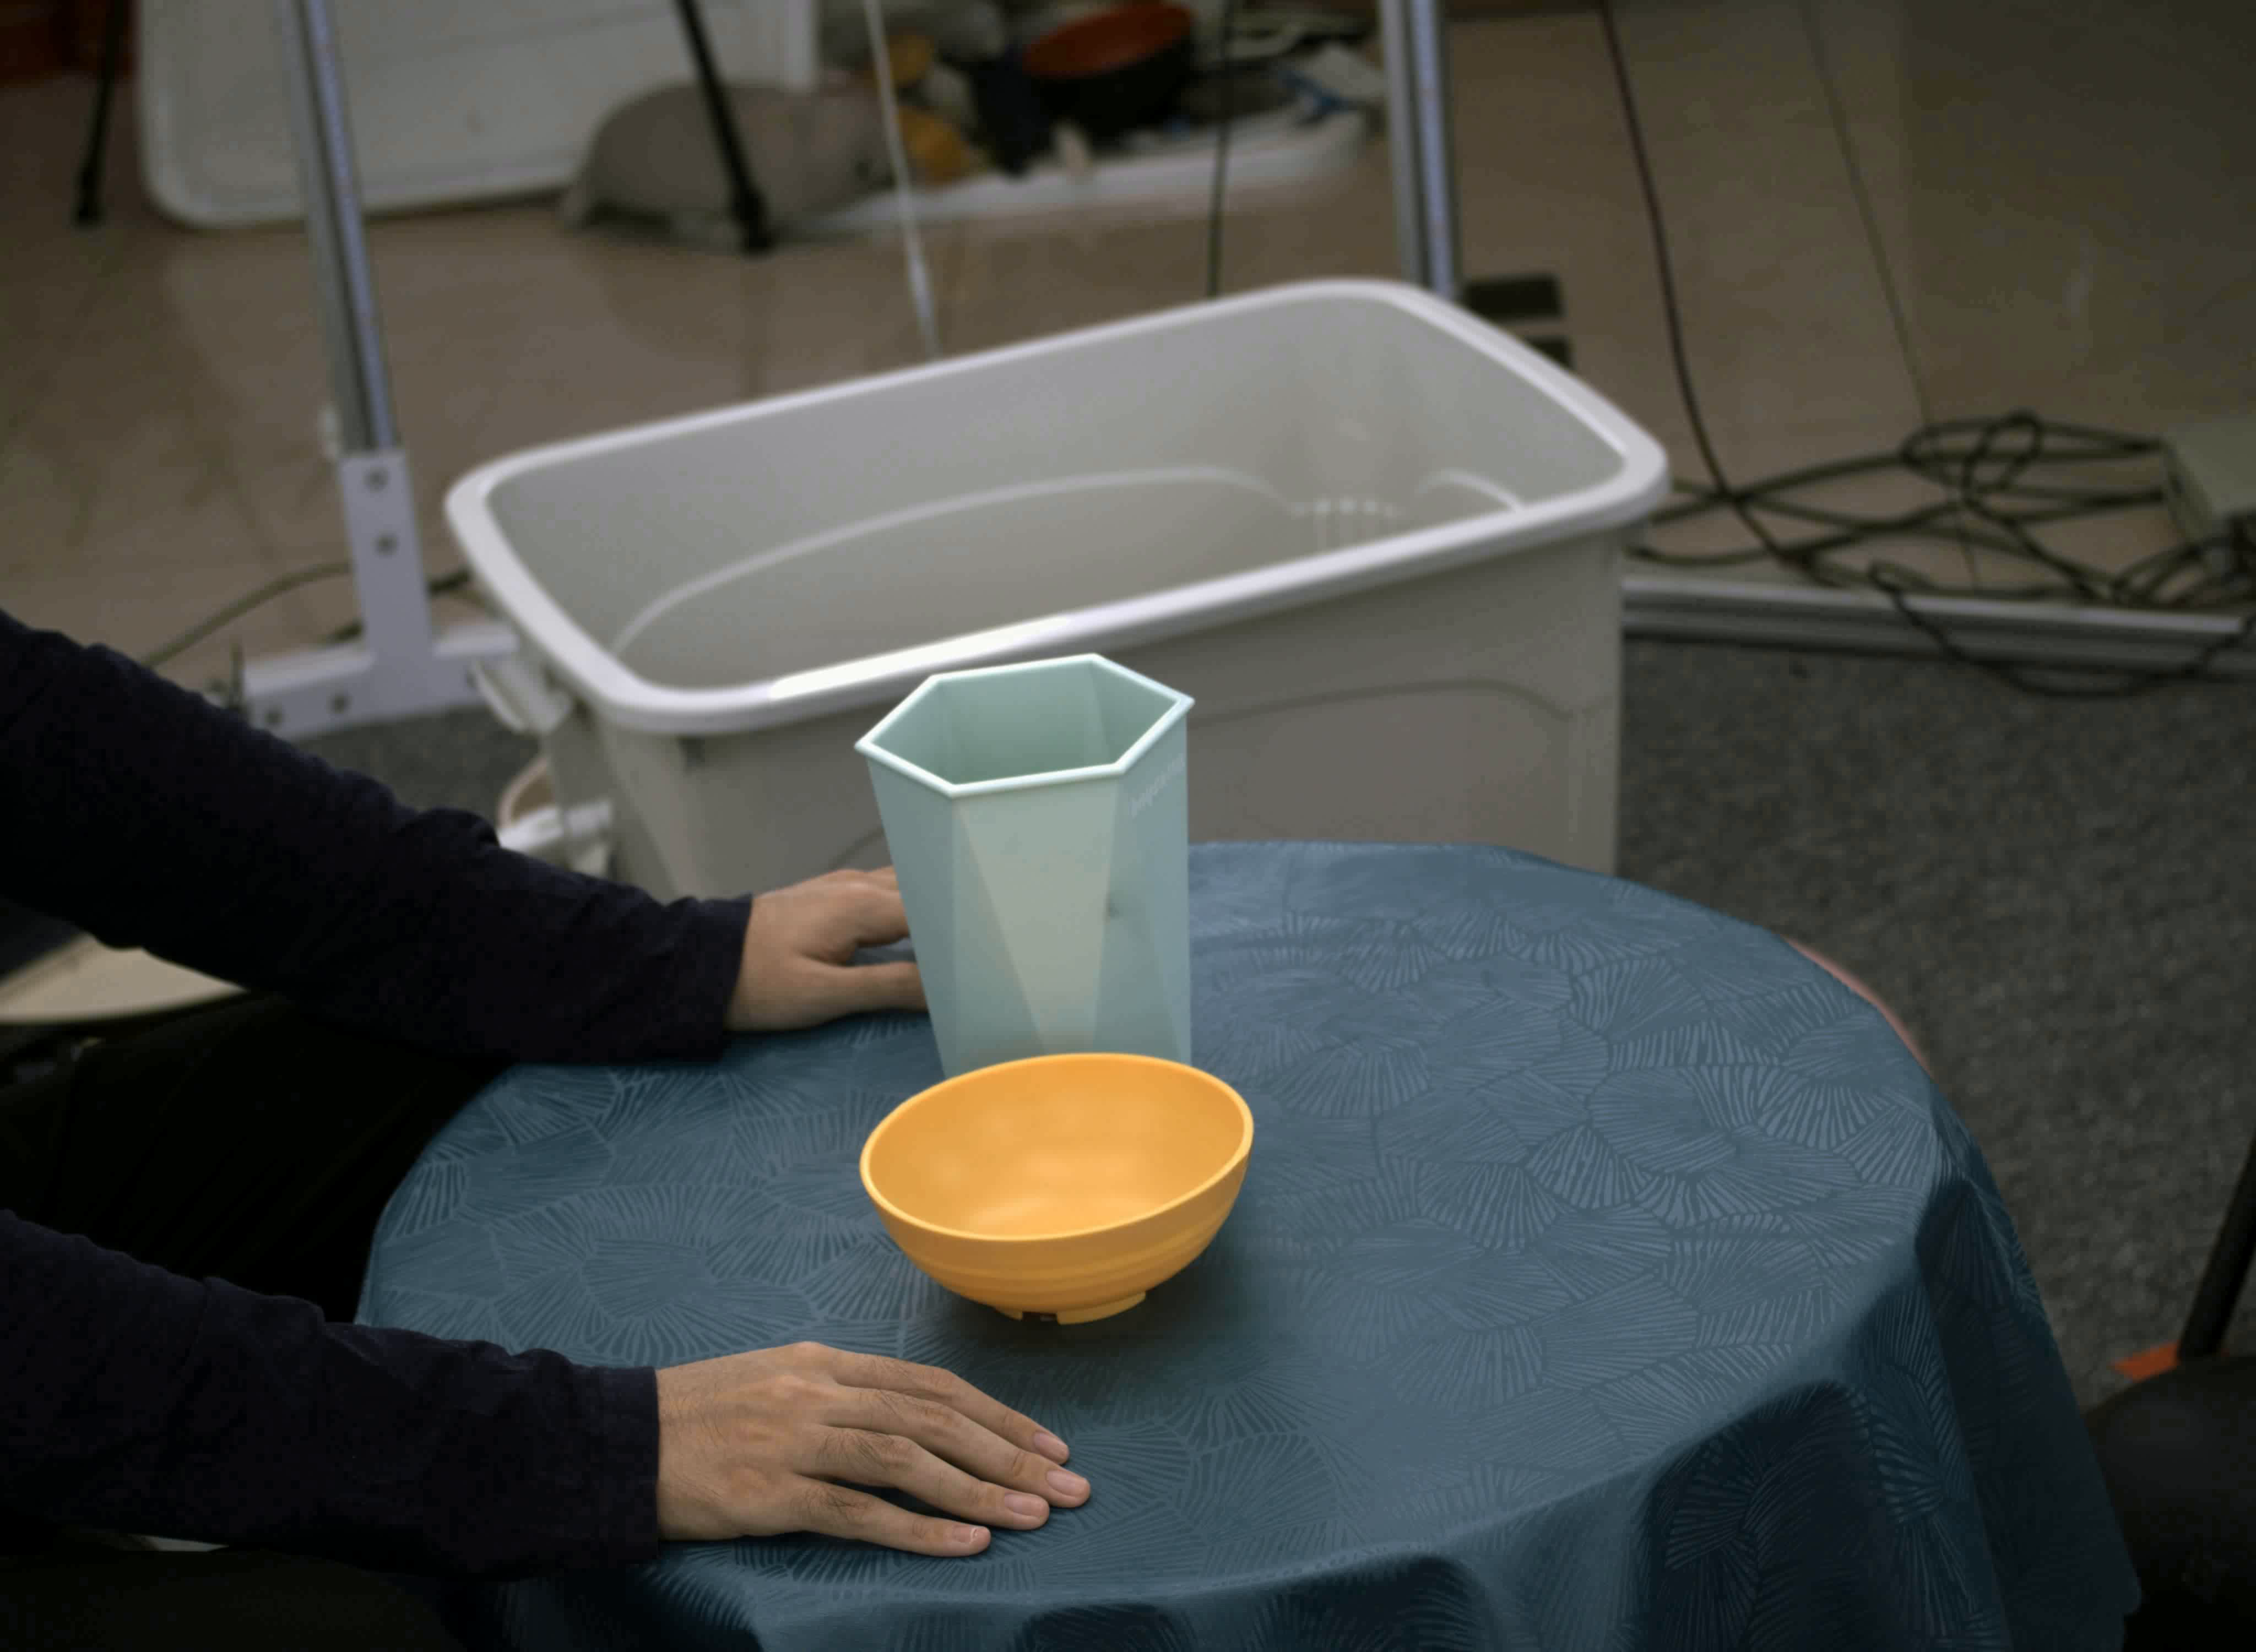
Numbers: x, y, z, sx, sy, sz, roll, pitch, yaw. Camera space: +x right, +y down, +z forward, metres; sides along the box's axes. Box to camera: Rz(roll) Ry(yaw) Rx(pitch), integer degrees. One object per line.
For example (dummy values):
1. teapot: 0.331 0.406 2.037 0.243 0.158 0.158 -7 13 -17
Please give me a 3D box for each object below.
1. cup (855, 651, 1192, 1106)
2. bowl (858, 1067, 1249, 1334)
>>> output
1. cup: -0.030 0.030 2.192 0.115 0.165 0.129 4 27 24
2. bowl: -0.024 0.145 2.077 0.145 0.061 0.143 -7 23 3
